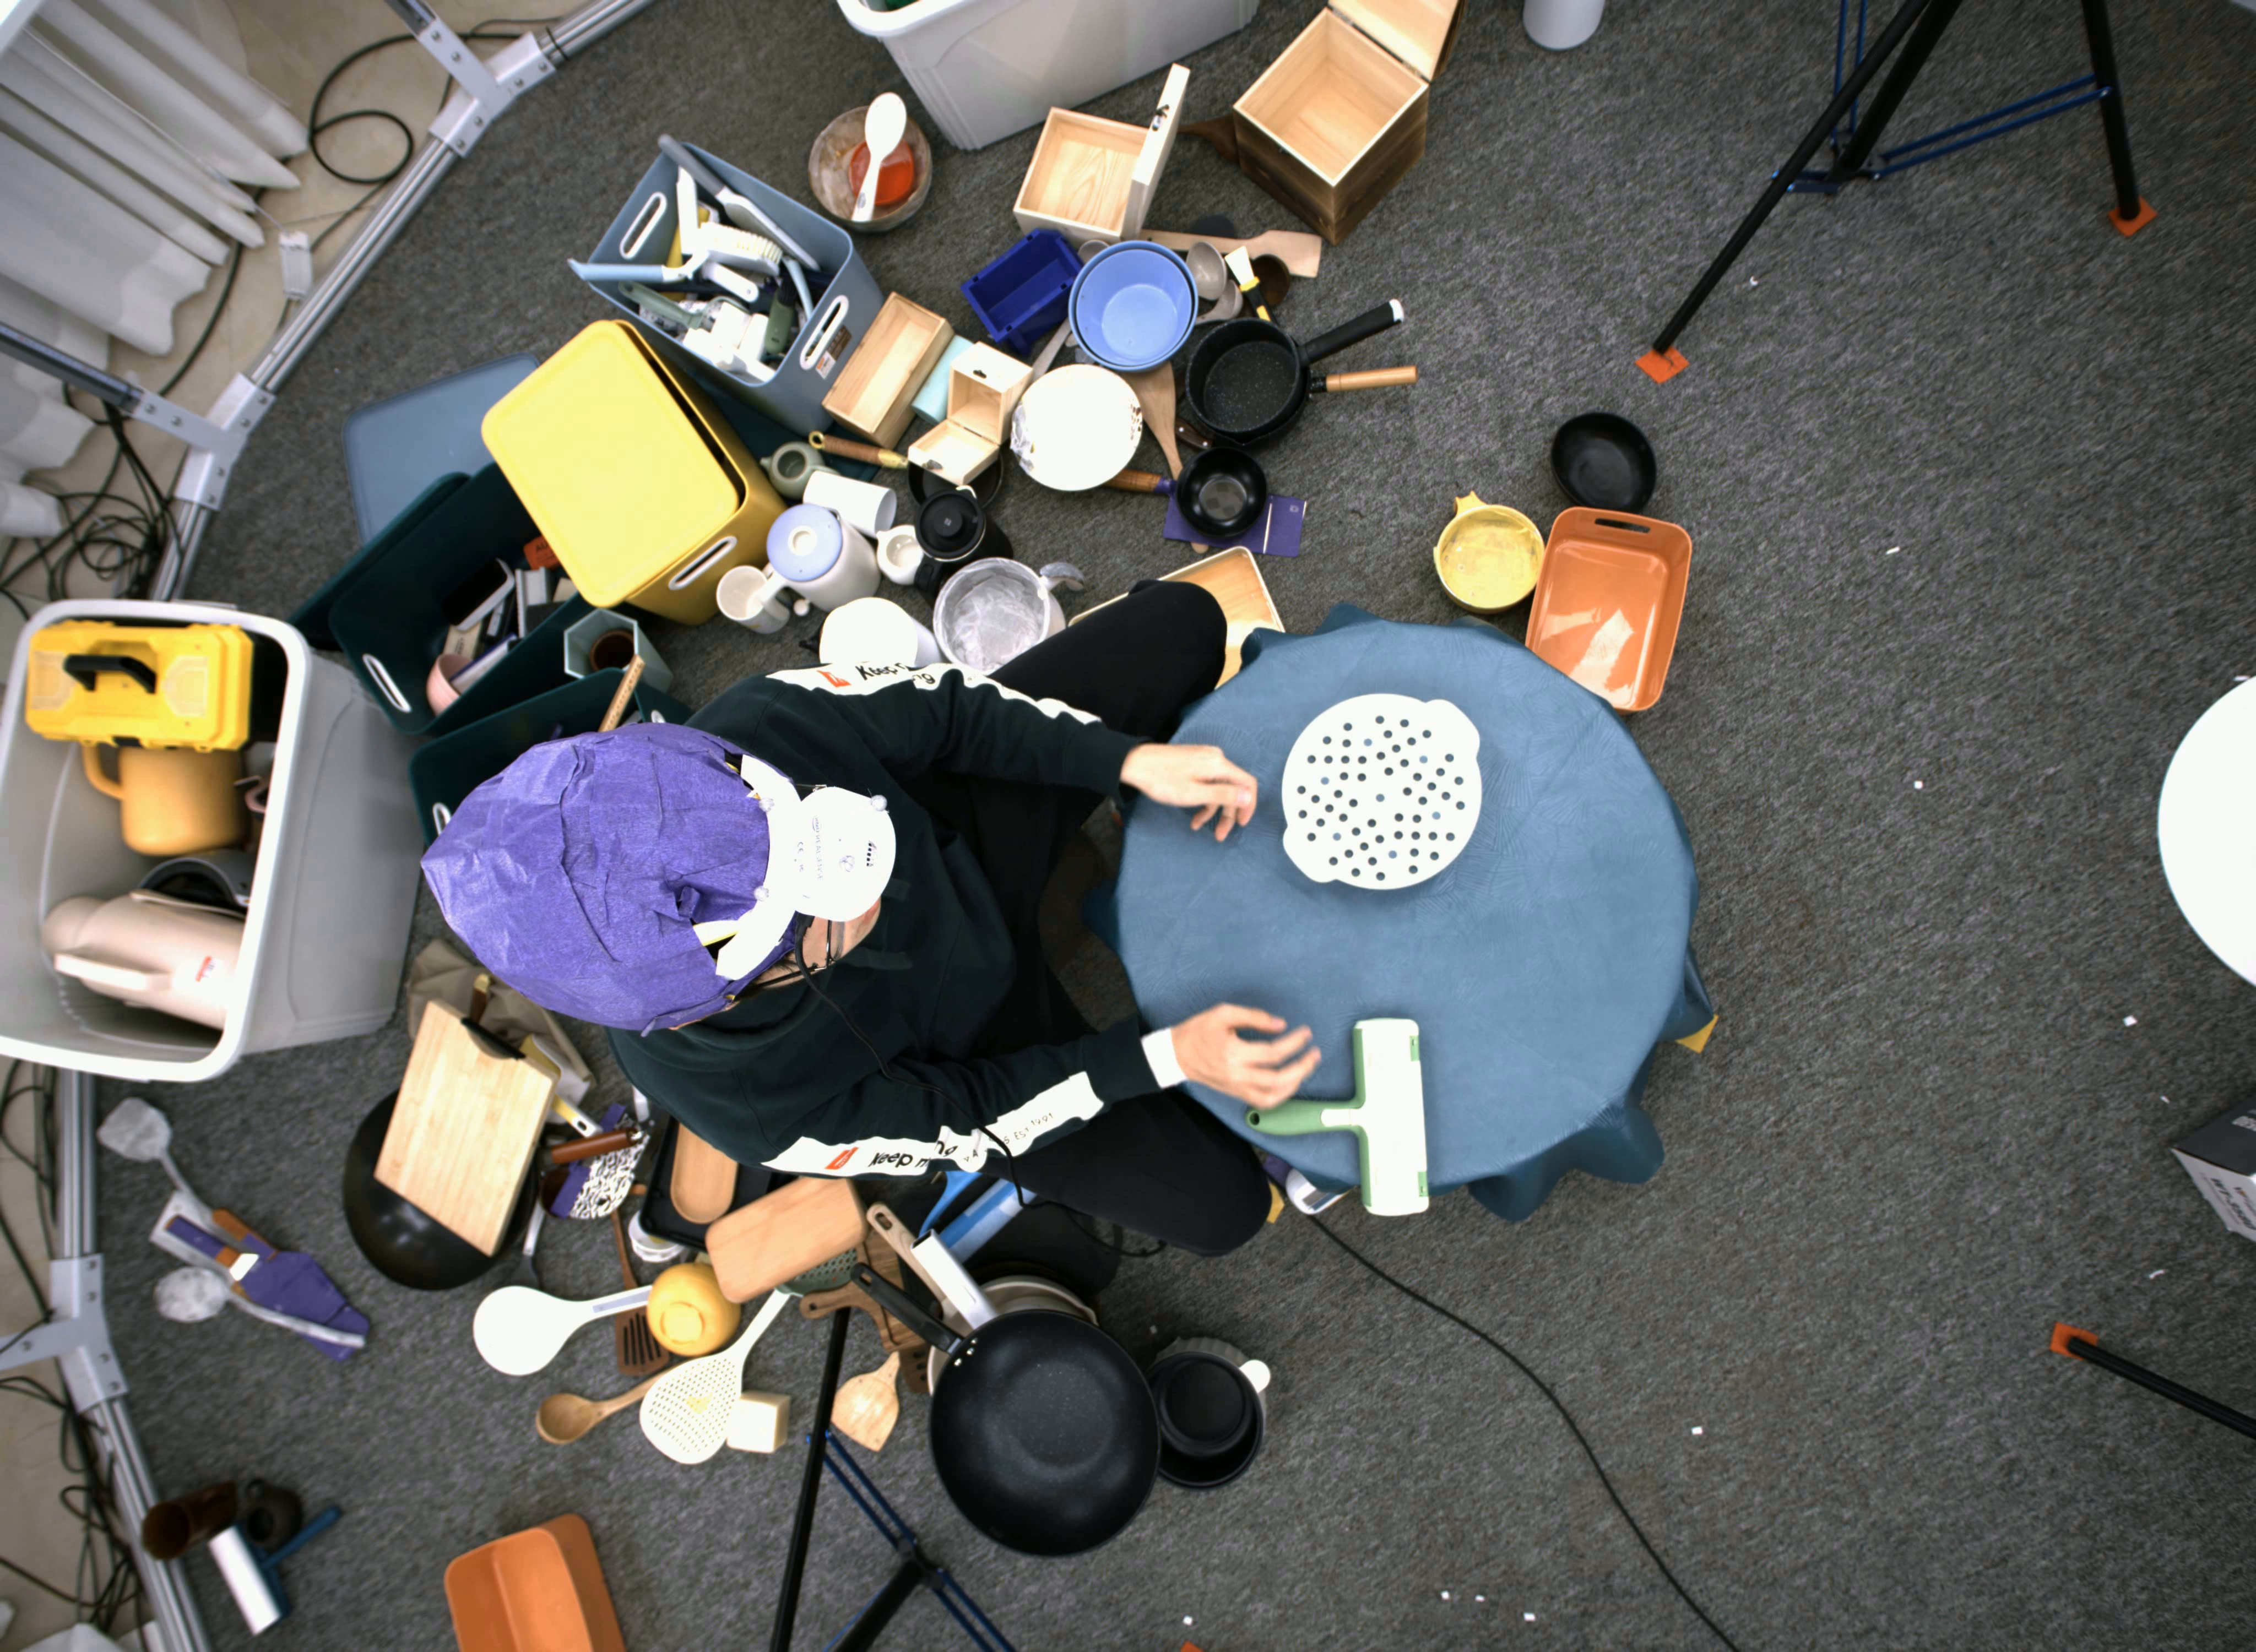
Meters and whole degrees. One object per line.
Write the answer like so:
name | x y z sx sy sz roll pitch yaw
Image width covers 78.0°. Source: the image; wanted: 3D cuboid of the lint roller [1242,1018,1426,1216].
lint roller | 0.208 0.297 1.416 0.184 0.082 0.198 -3 86 6

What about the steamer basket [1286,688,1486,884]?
steamer basket | 0.265 -0.040 1.427 0.231 0.069 0.201 -42 82 4
